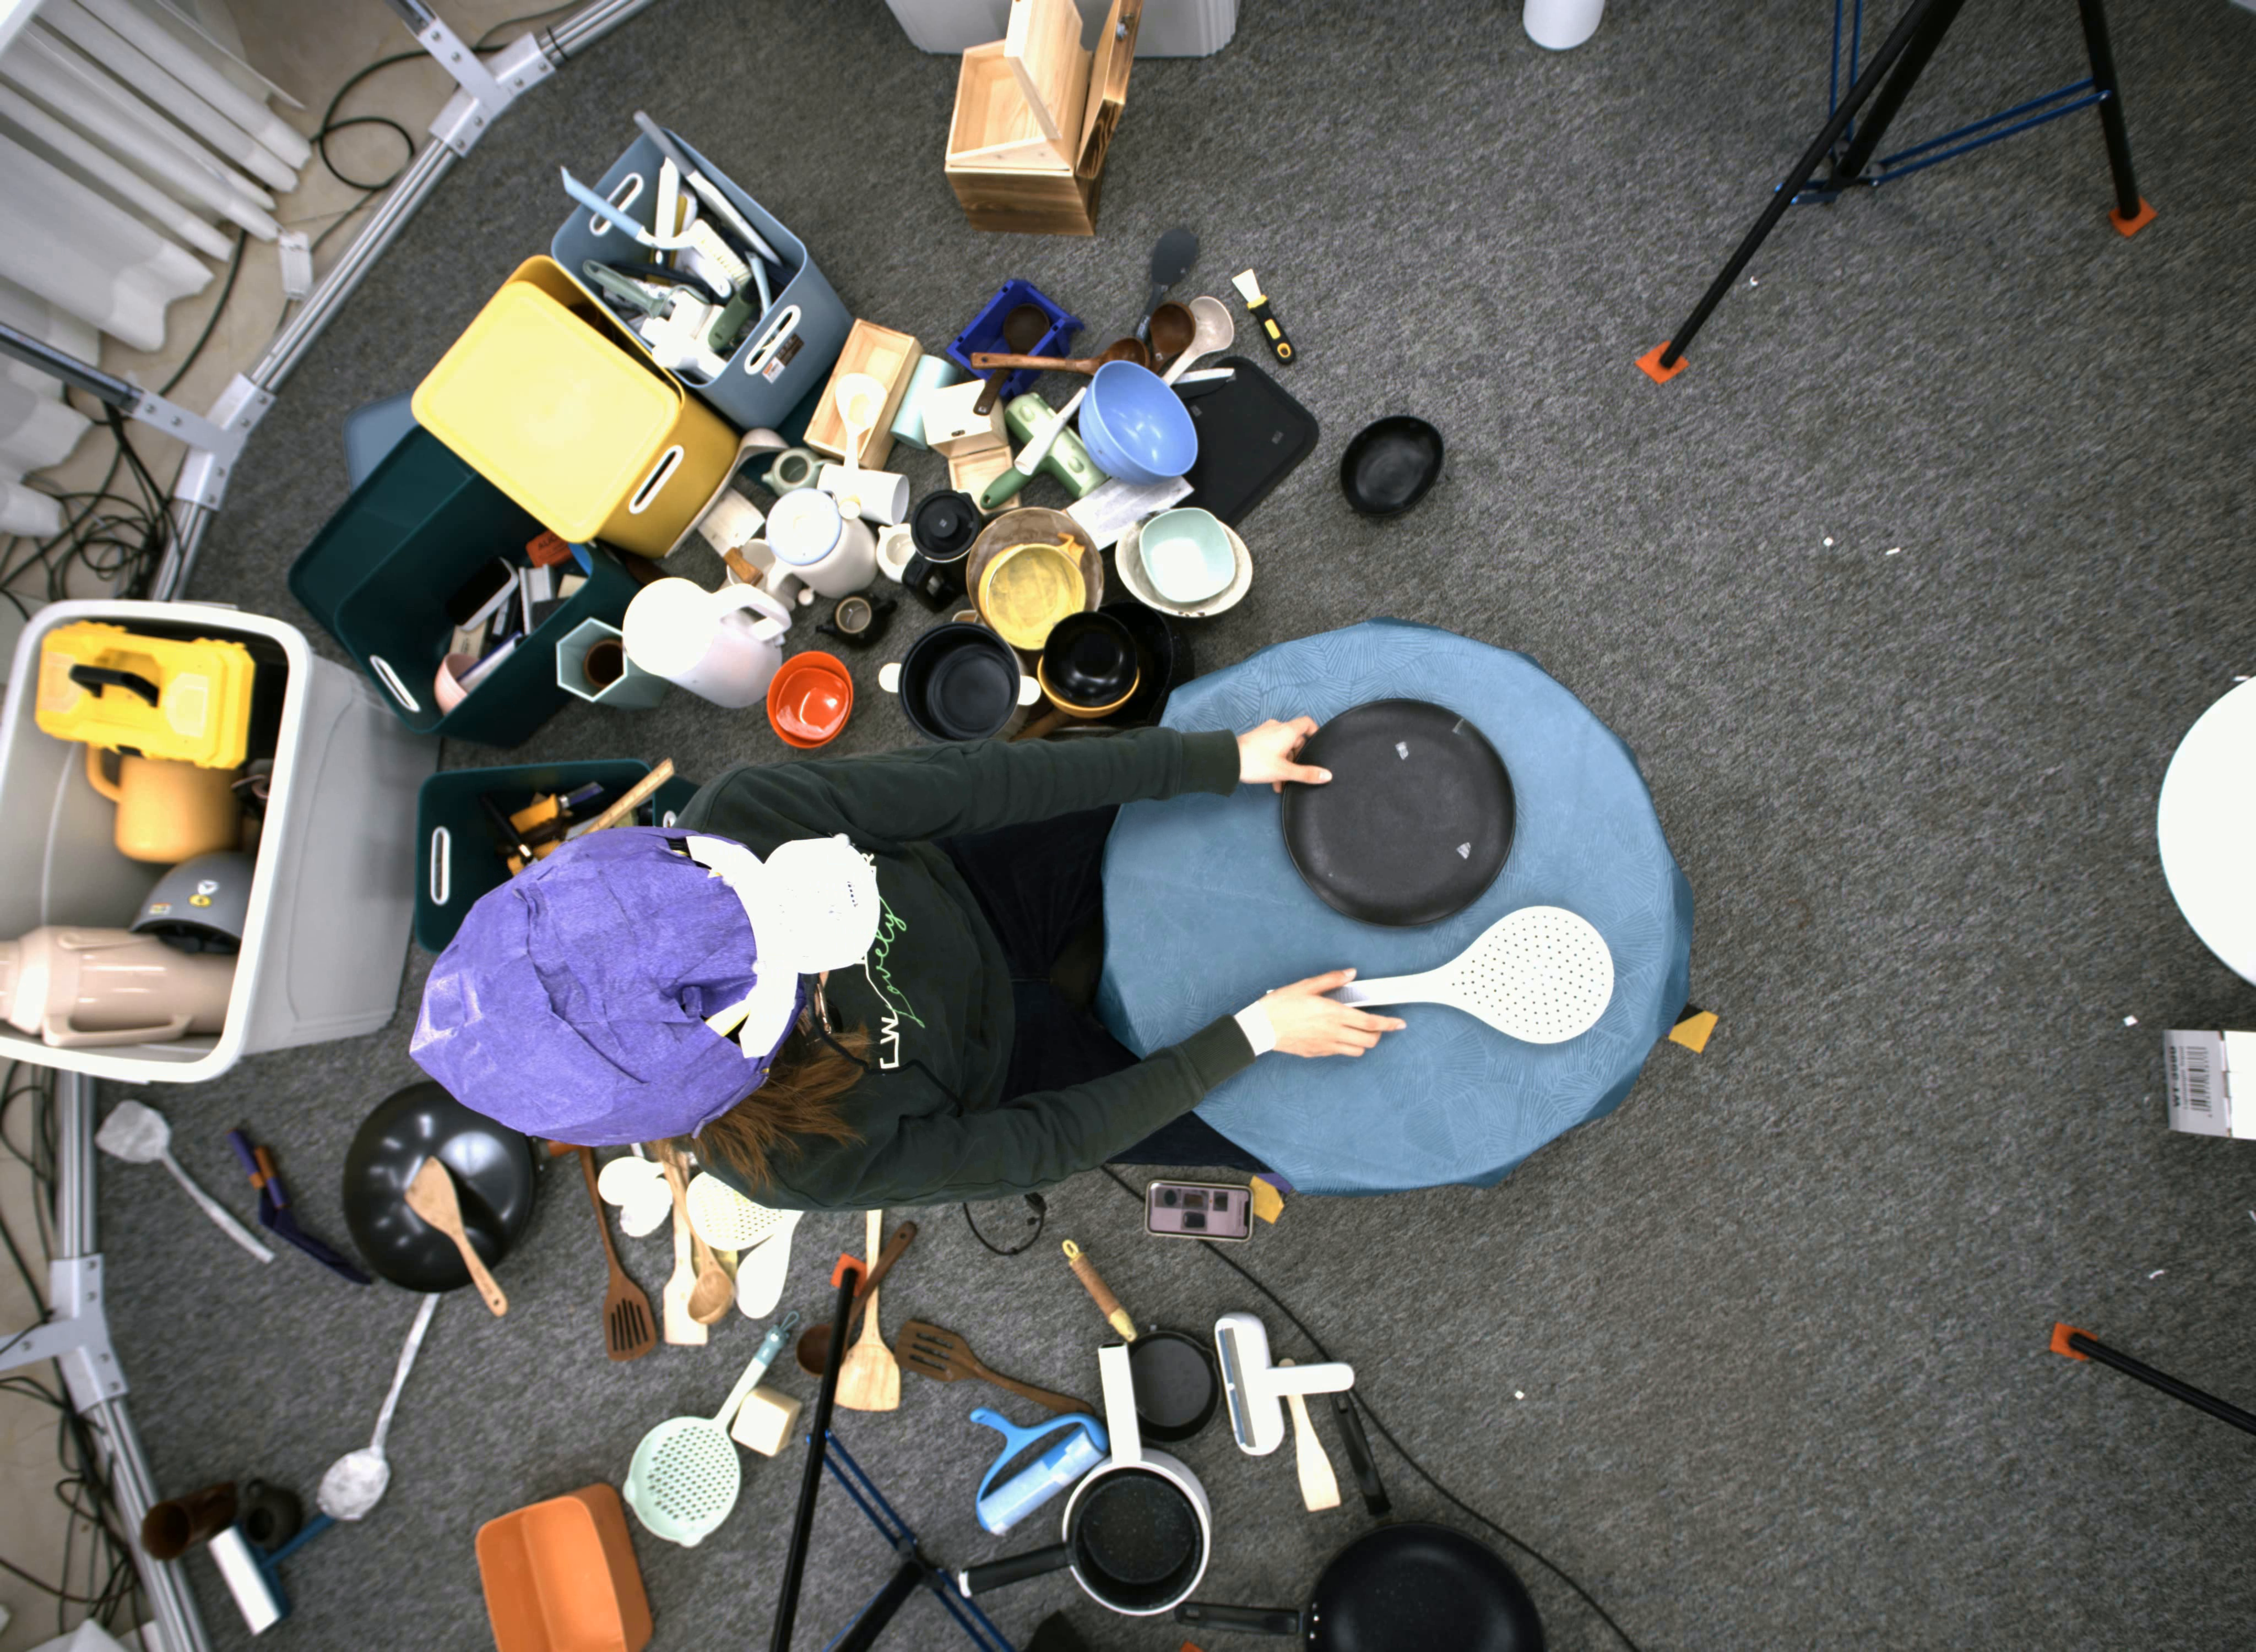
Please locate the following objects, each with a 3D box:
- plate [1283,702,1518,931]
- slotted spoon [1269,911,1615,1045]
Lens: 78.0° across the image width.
[{"bbox_3d":[0.287,-0.012,1.456,0.245,0.023,0.243,-1,86,10],"label":"plate"},{"bbox_3d":[0.319,0.166,1.426,0.351,0.046,0.135,-7,82,11],"label":"slotted spoon"}]
